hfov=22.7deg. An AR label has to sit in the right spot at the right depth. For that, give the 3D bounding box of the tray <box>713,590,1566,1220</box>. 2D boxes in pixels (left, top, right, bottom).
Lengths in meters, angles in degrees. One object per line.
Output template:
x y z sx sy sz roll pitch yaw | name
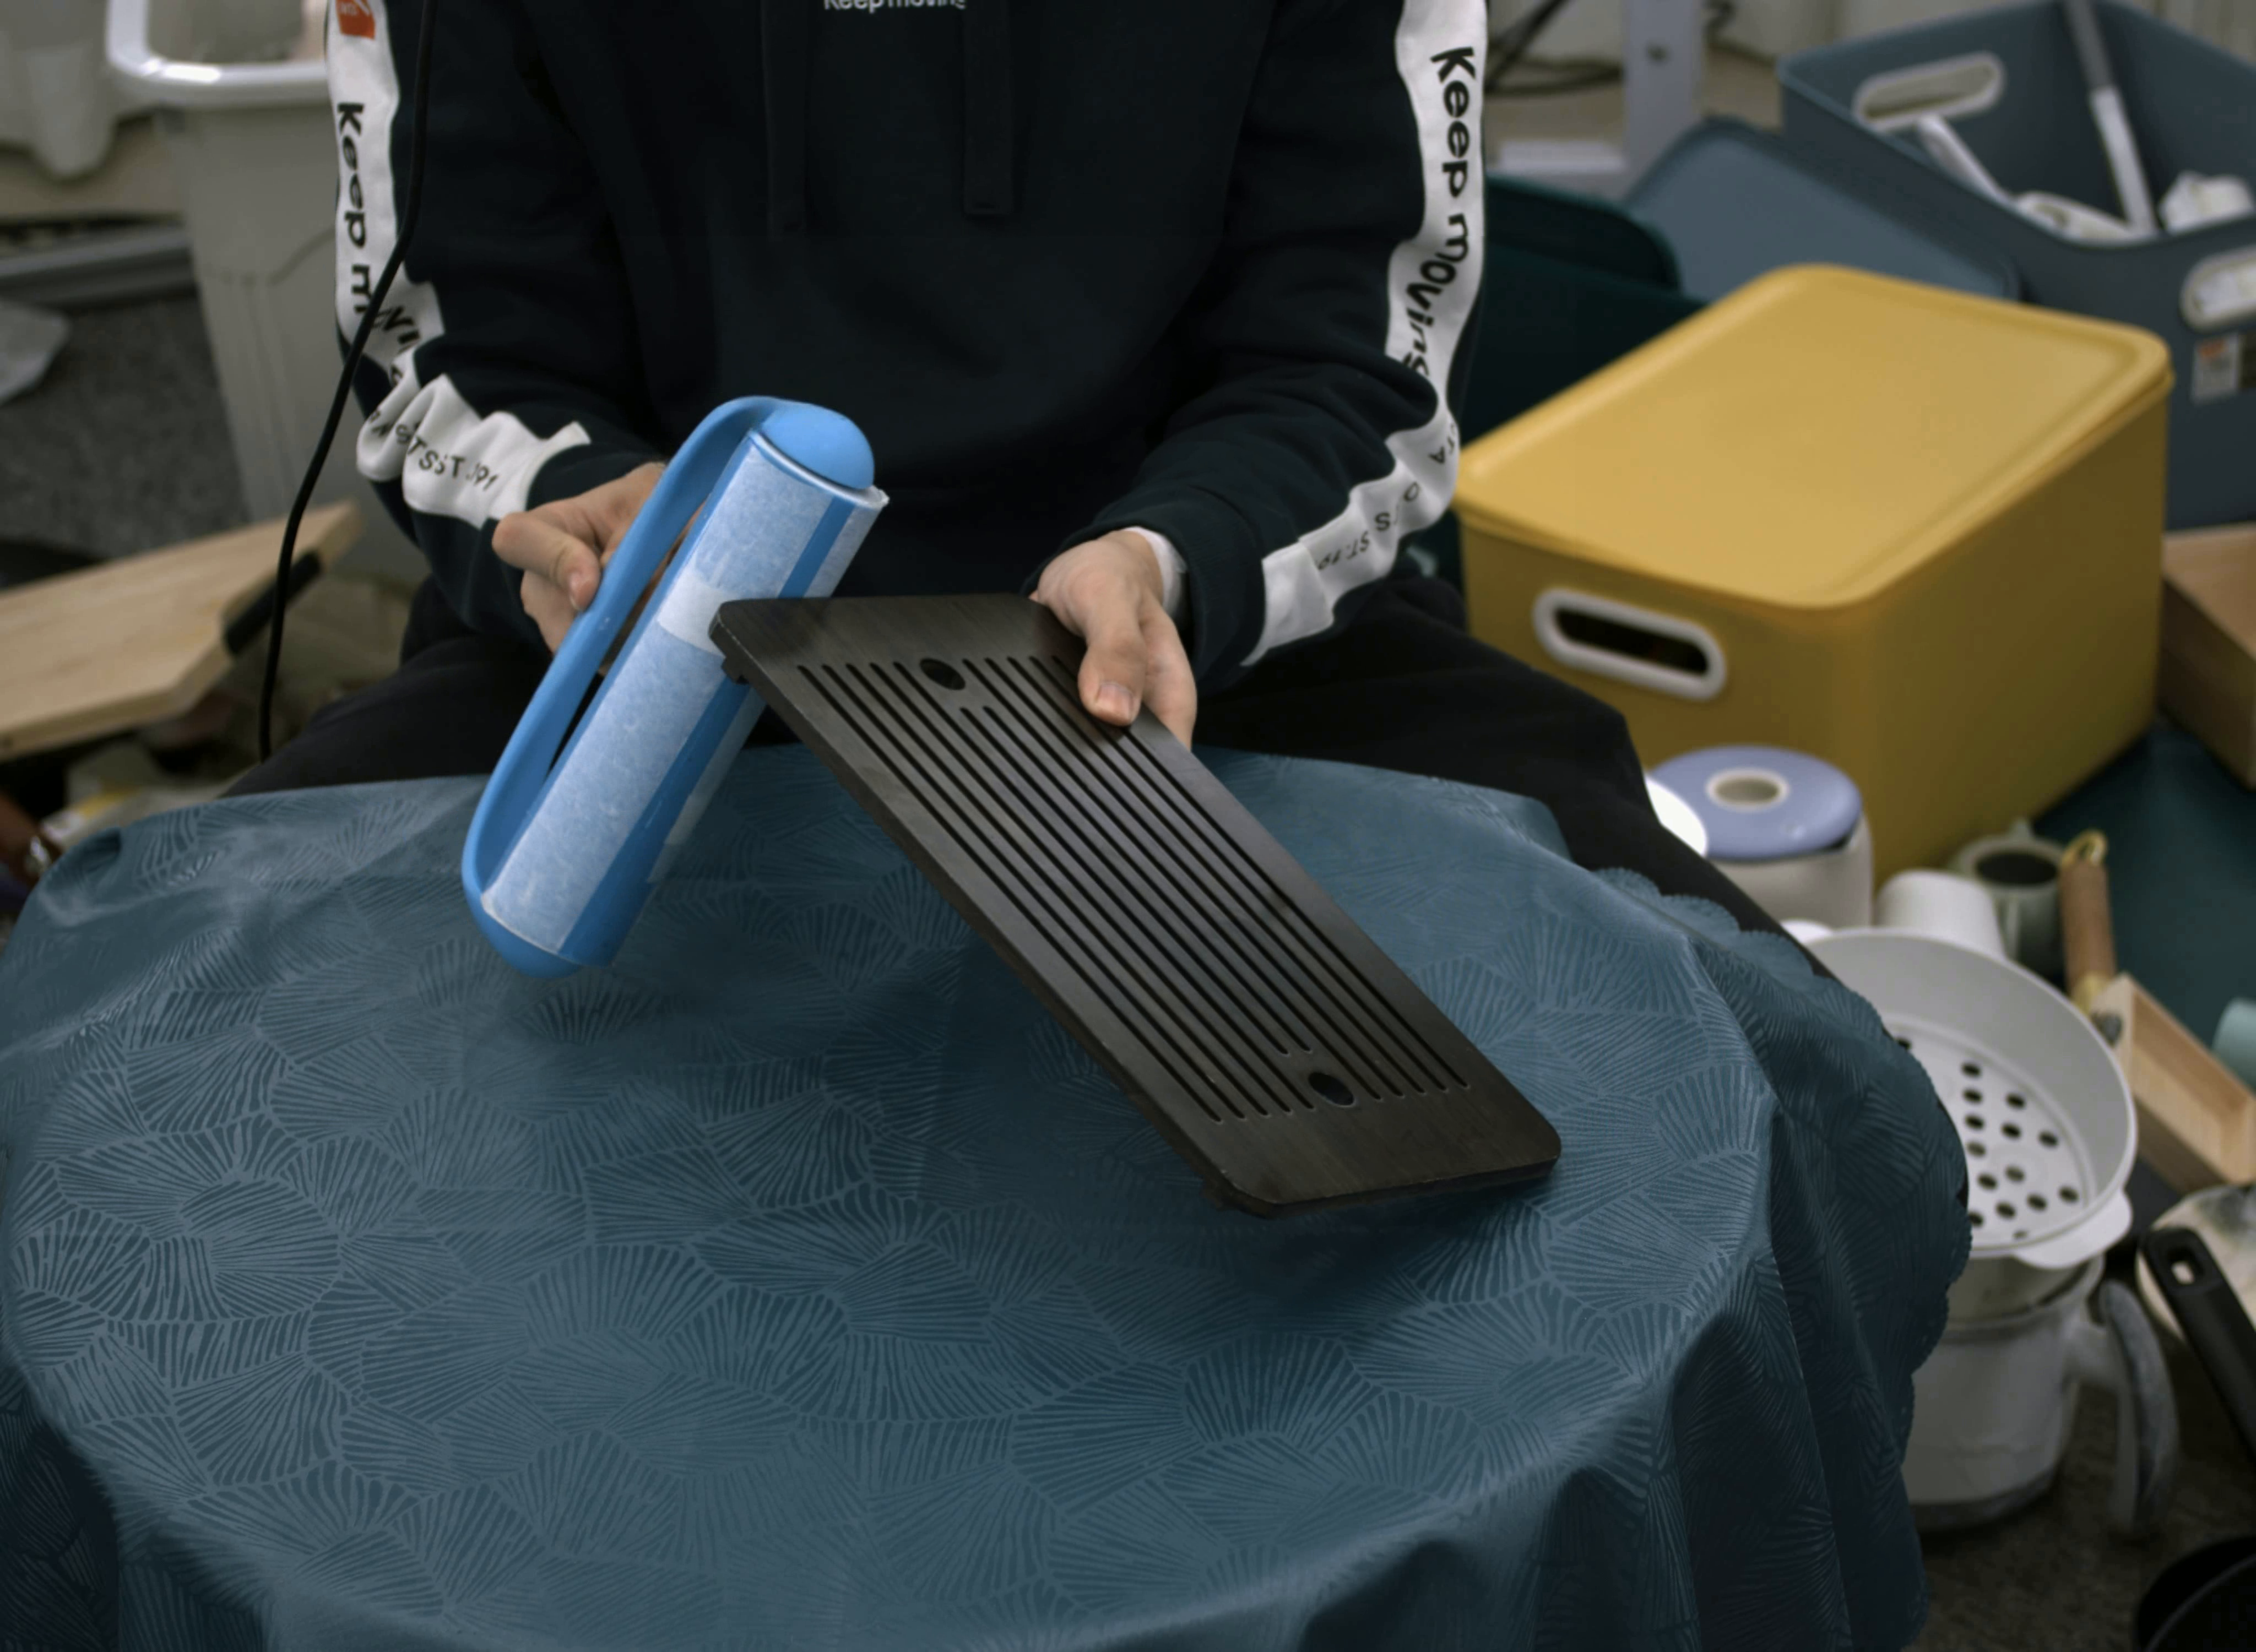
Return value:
0.001 0.022 1.874 0.171 0.018 0.308 -3 42 -49 | tray

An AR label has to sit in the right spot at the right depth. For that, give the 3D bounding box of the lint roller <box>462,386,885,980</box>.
-0.166 -0.064 2.001 0.067 0.228 0.181 27 9 -17 | lint roller
